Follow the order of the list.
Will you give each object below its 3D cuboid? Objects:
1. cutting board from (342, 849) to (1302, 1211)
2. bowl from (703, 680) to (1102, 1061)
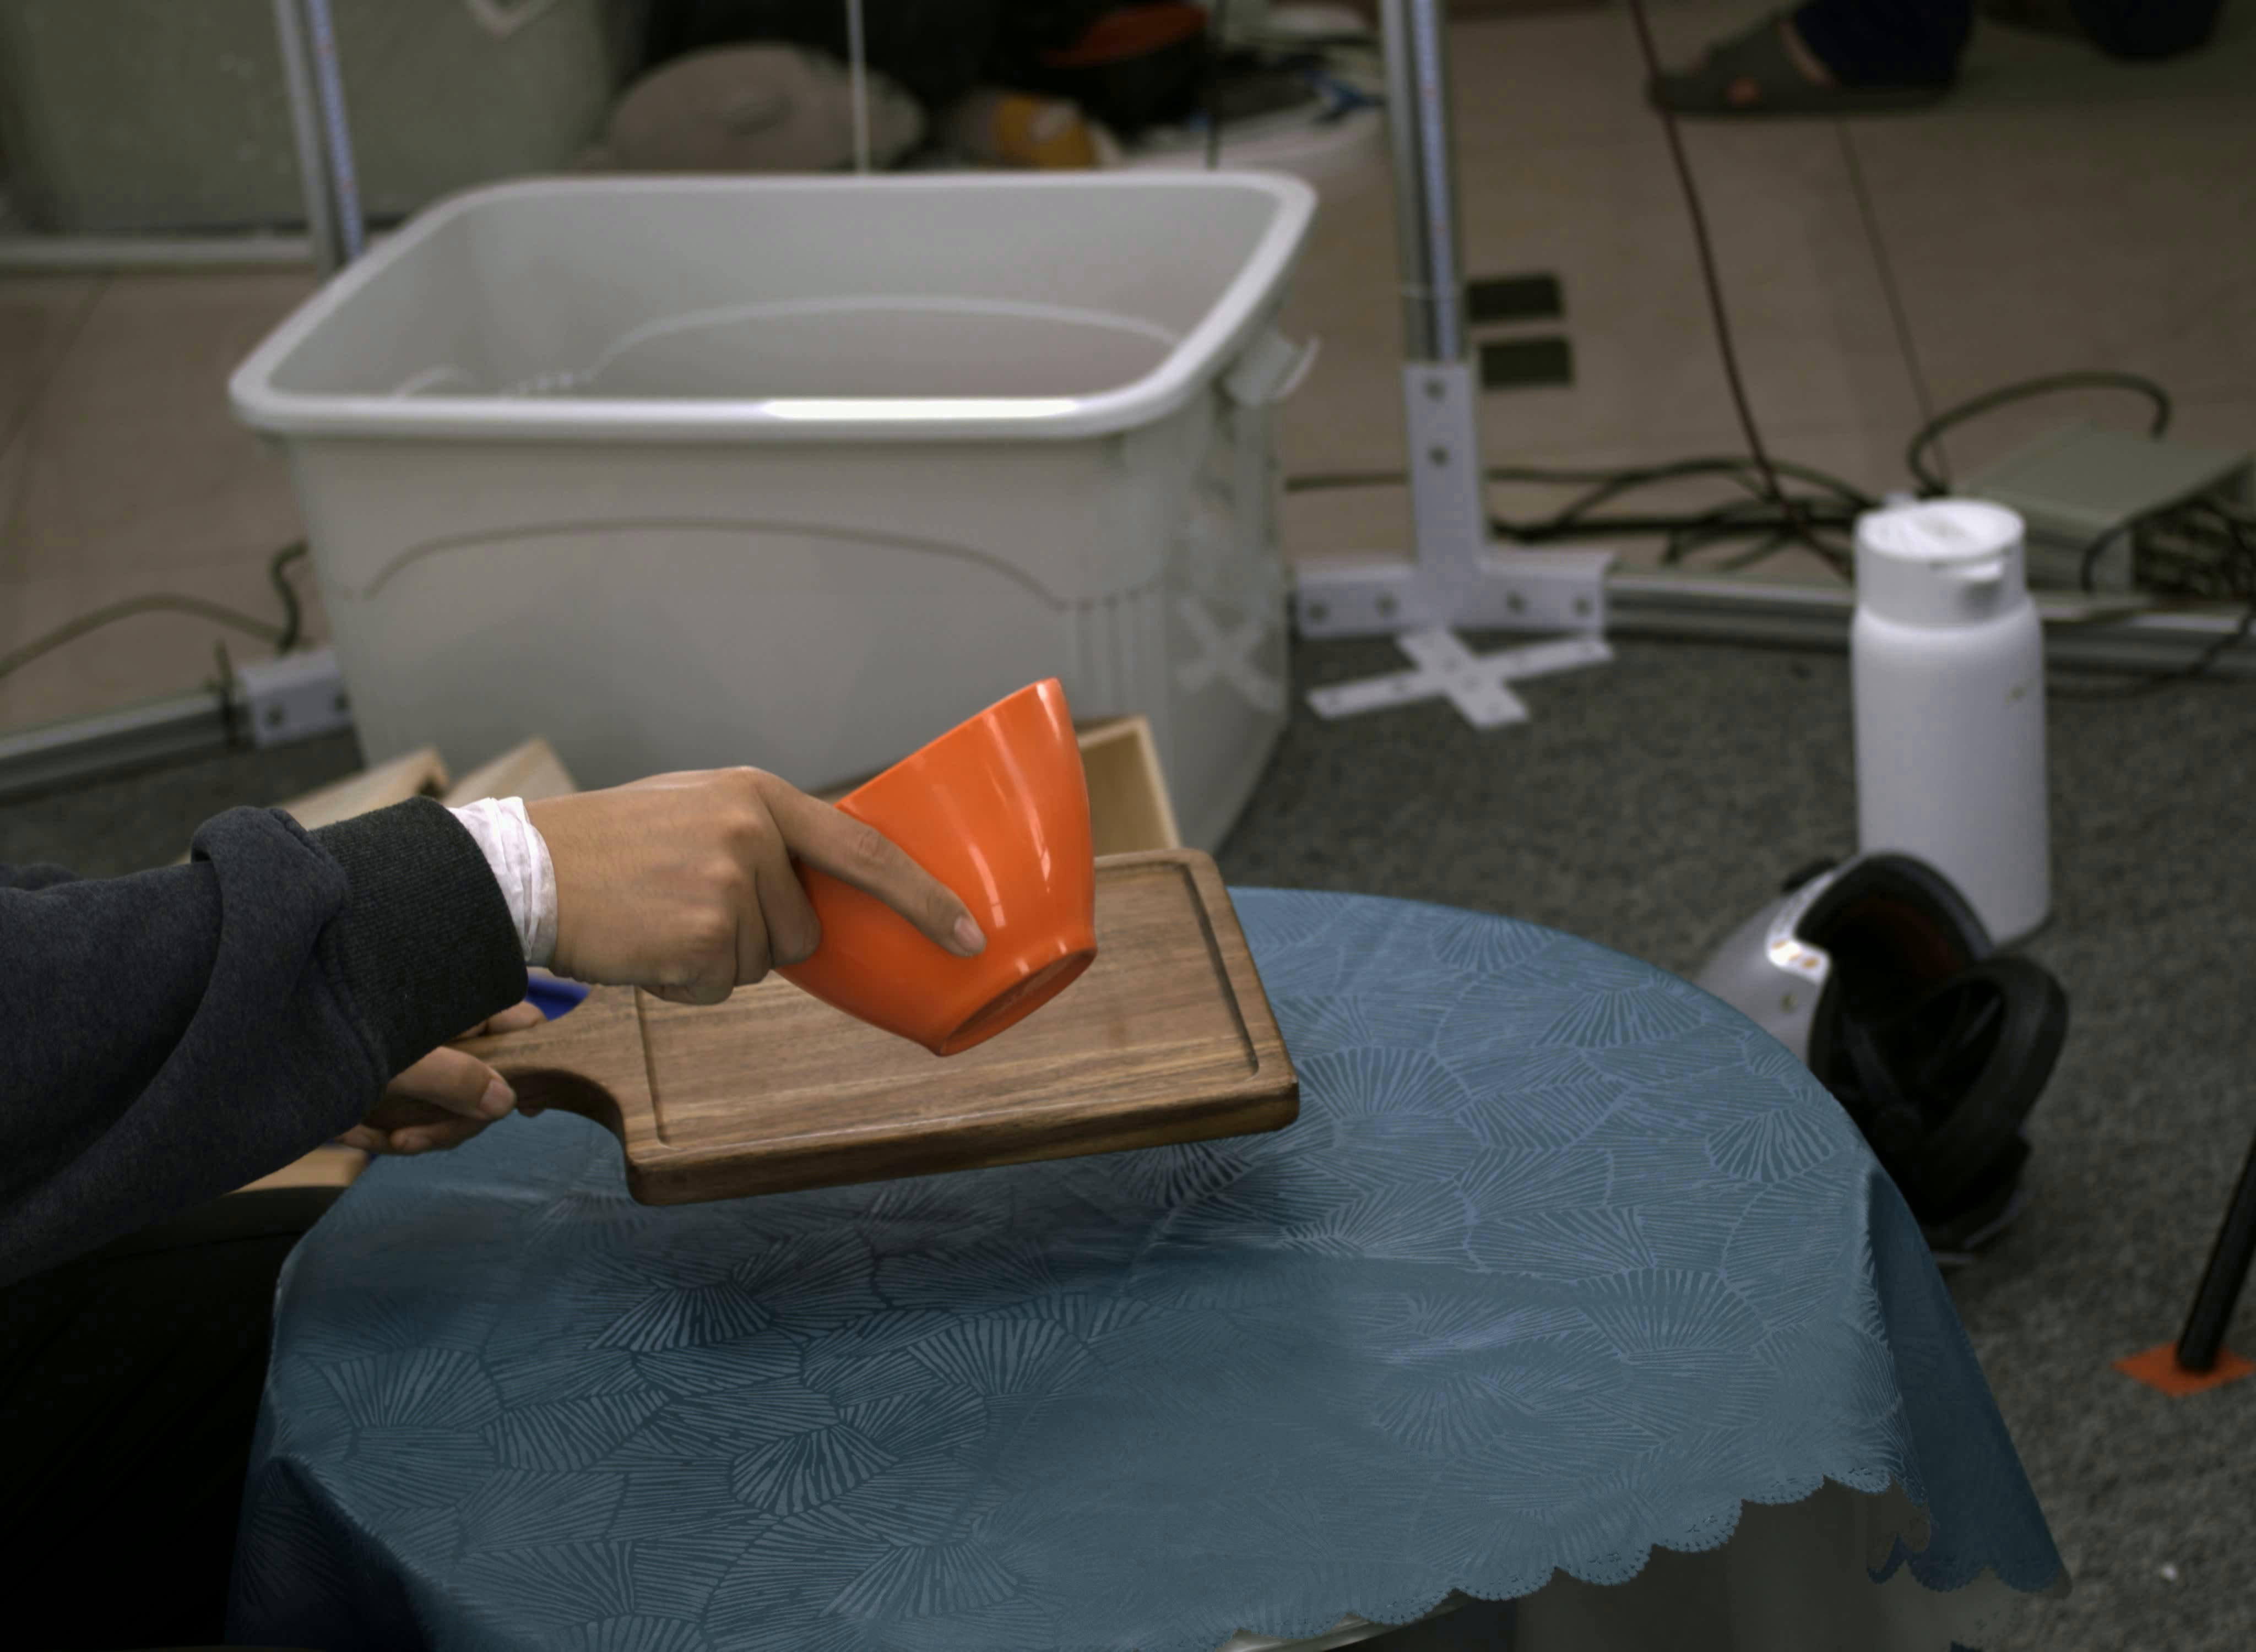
[{"bbox_3d":[-0.123,0.080,2.158,0.351,0.023,0.198,-7,29,-7],"label":"cutting board"},{"bbox_3d":[-0.063,0.022,1.953,0.147,0.104,0.149,-32,-10,-6],"label":"bowl"}]
